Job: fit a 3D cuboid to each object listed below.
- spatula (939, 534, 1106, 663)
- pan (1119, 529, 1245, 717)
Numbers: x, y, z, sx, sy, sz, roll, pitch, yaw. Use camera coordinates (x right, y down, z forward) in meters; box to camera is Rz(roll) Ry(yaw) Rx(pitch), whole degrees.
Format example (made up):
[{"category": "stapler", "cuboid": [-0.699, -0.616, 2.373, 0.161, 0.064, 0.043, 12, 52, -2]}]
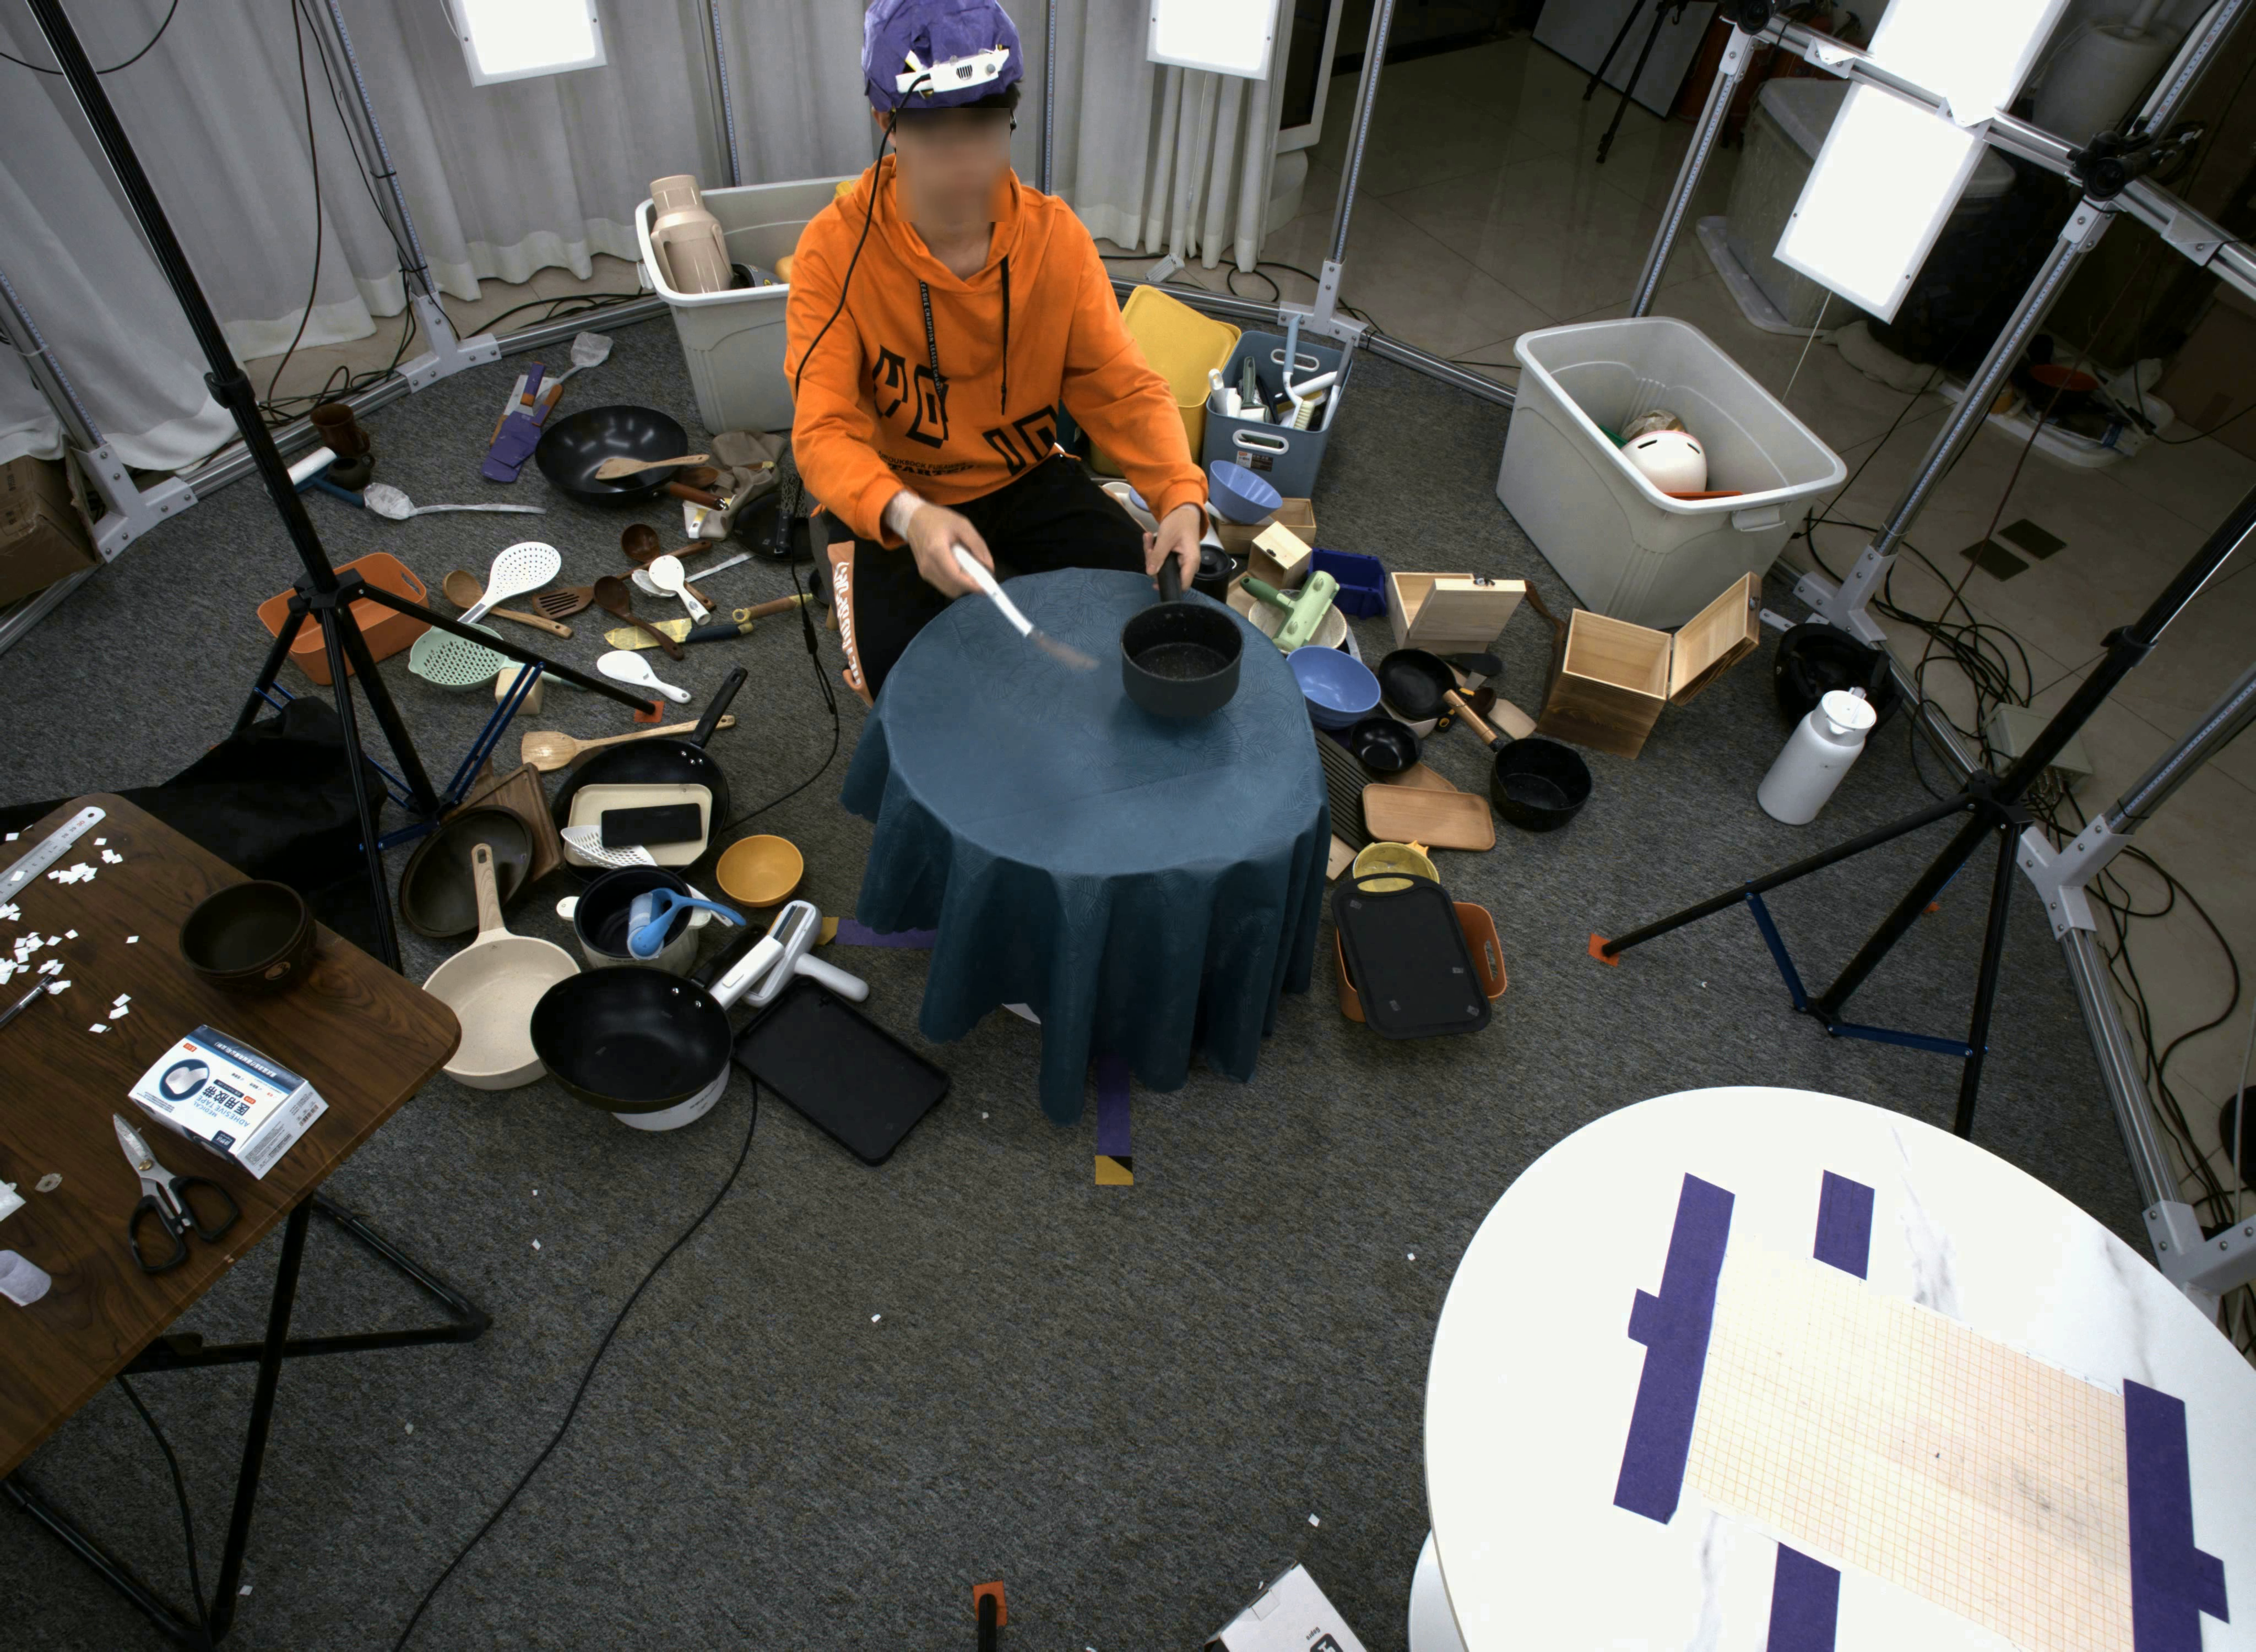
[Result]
[{"category": "spatula", "cuboid": [-0.143, -0.290, 1.678, 0.292, 0.032, 0.058, 42, 28, 23]}, {"category": "pan", "cuboid": [0.069, -0.291, 1.827, 0.172, 0.084, 0.337, -2, 47, -2]}]
